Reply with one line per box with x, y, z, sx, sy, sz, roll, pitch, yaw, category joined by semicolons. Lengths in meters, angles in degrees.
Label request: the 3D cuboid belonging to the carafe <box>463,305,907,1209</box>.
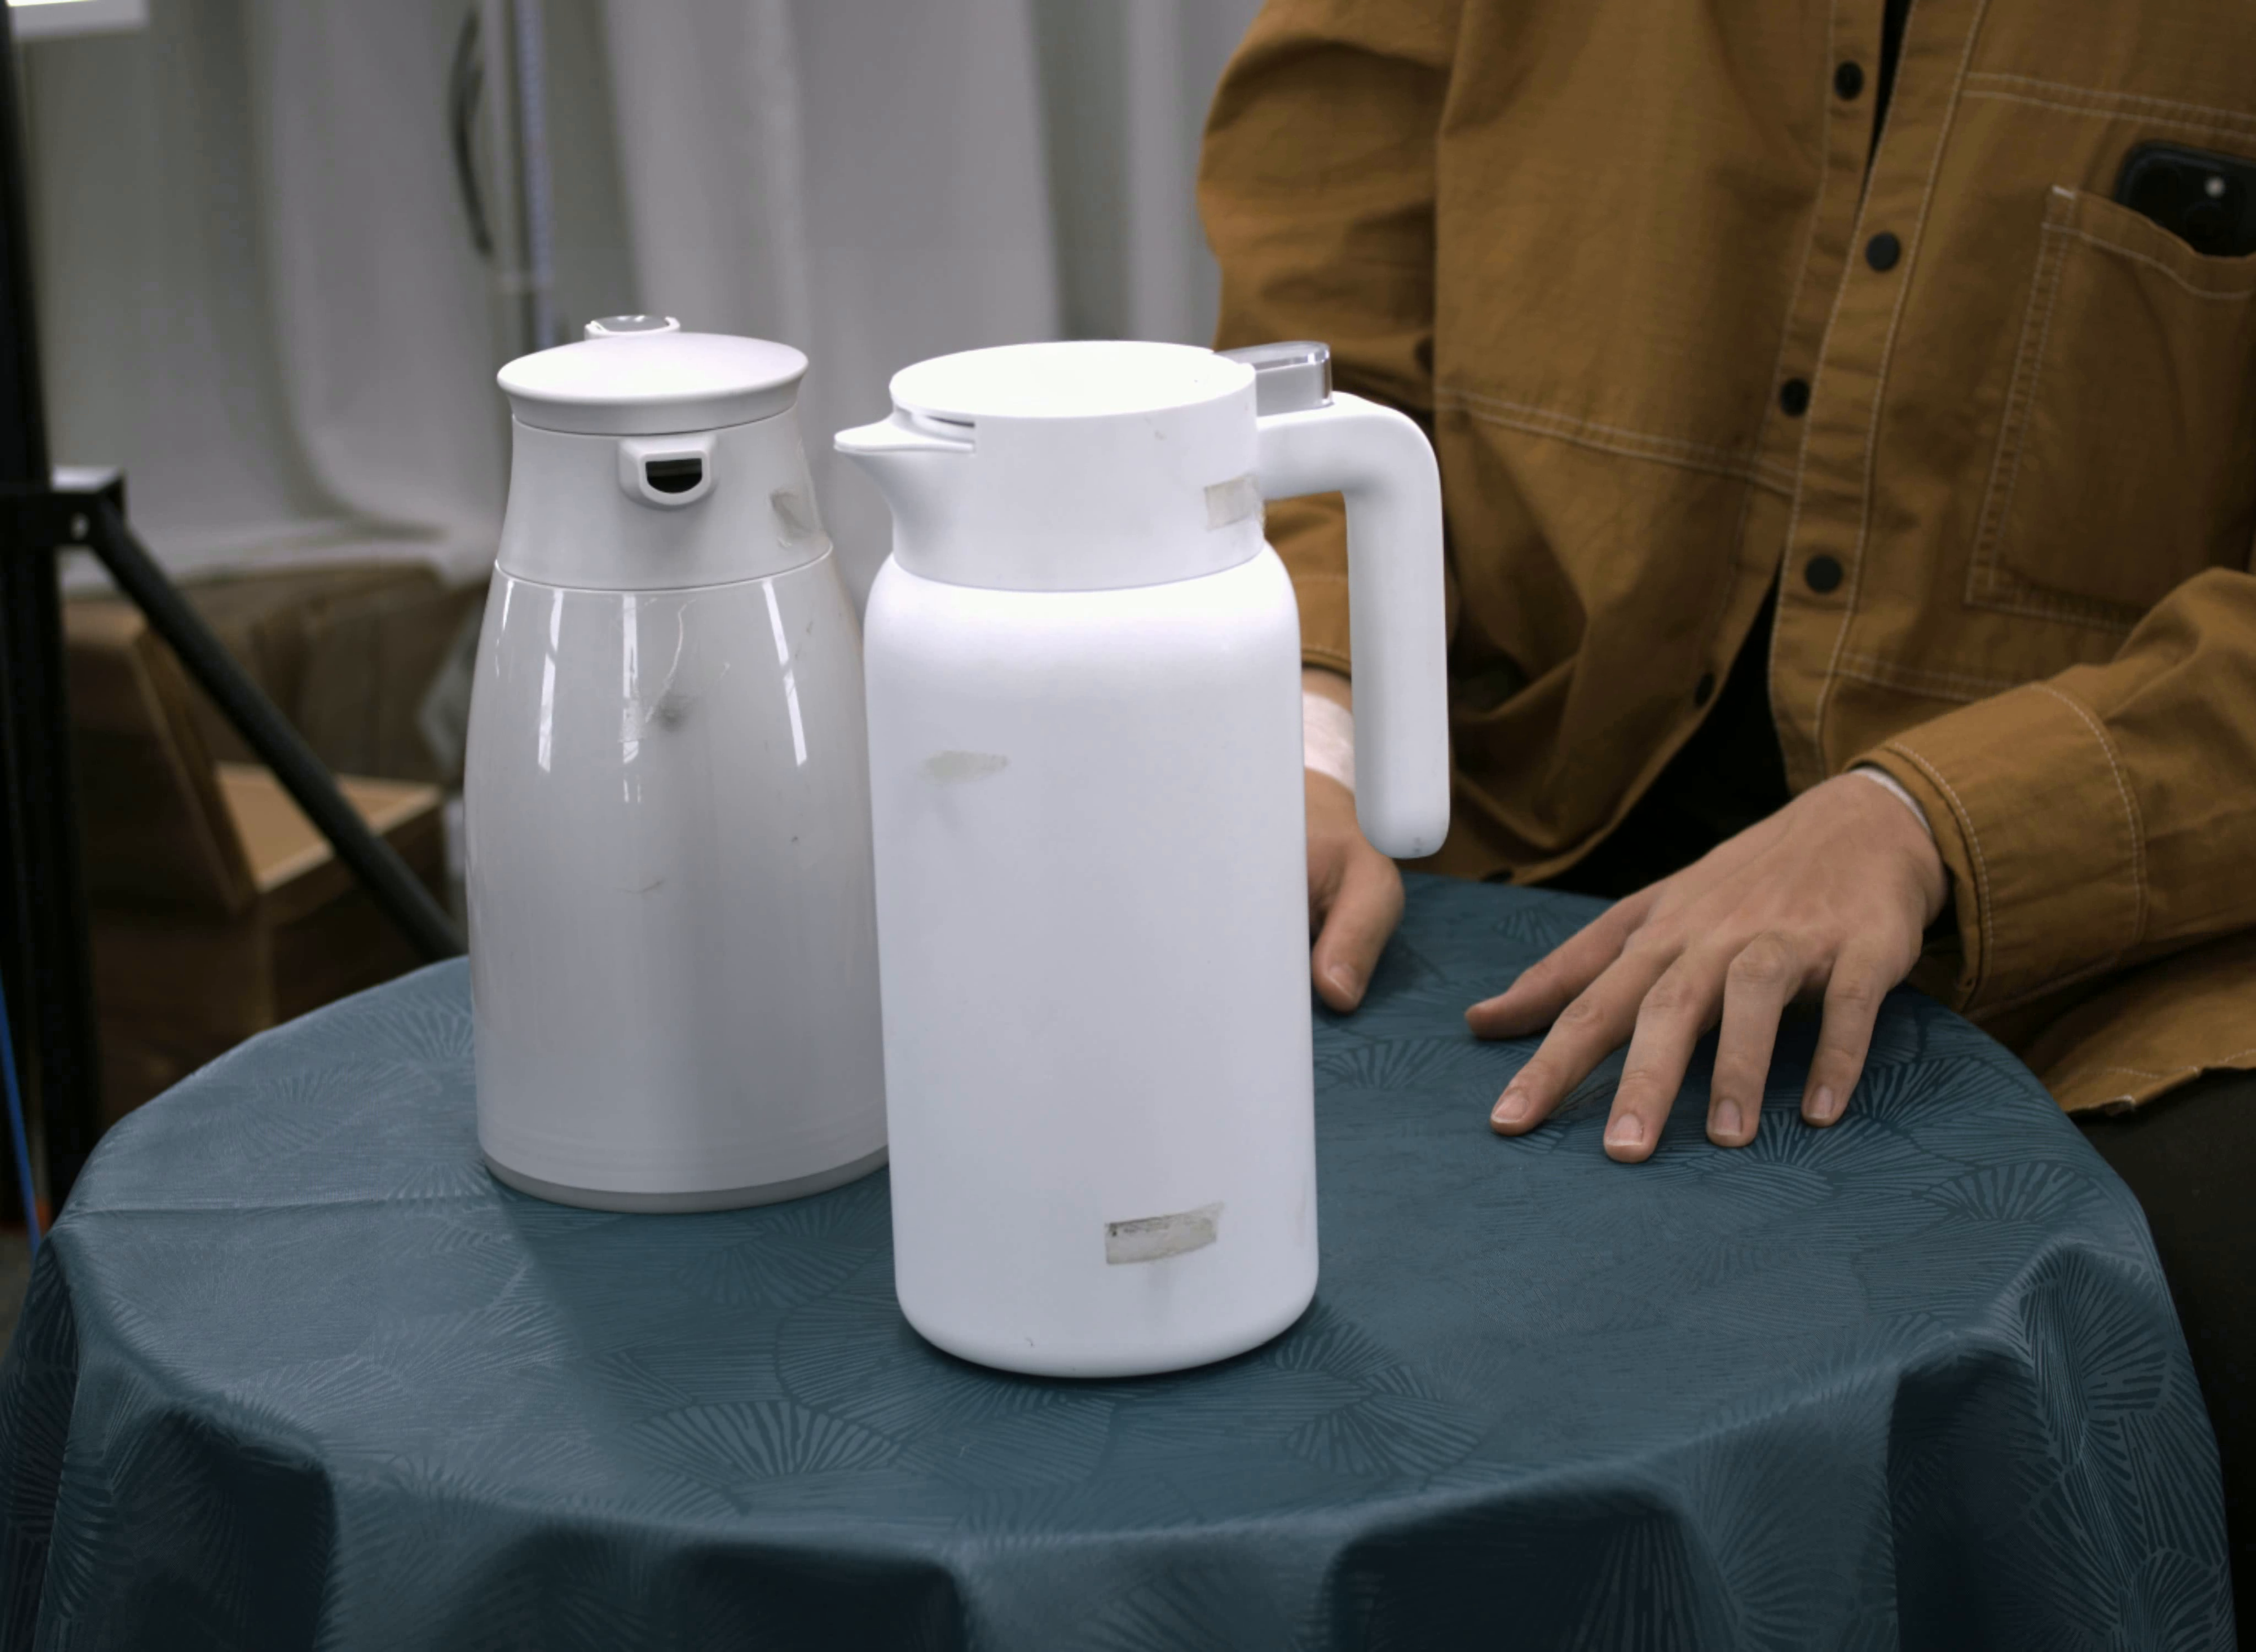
-0.139;-0.029;1.607;0.131;0.249;0.169;-4;14;-9;carafe

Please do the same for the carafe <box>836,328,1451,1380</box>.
0.006;0.004;1.434;0.169;0.269;0.126;-9;14;-24;carafe
